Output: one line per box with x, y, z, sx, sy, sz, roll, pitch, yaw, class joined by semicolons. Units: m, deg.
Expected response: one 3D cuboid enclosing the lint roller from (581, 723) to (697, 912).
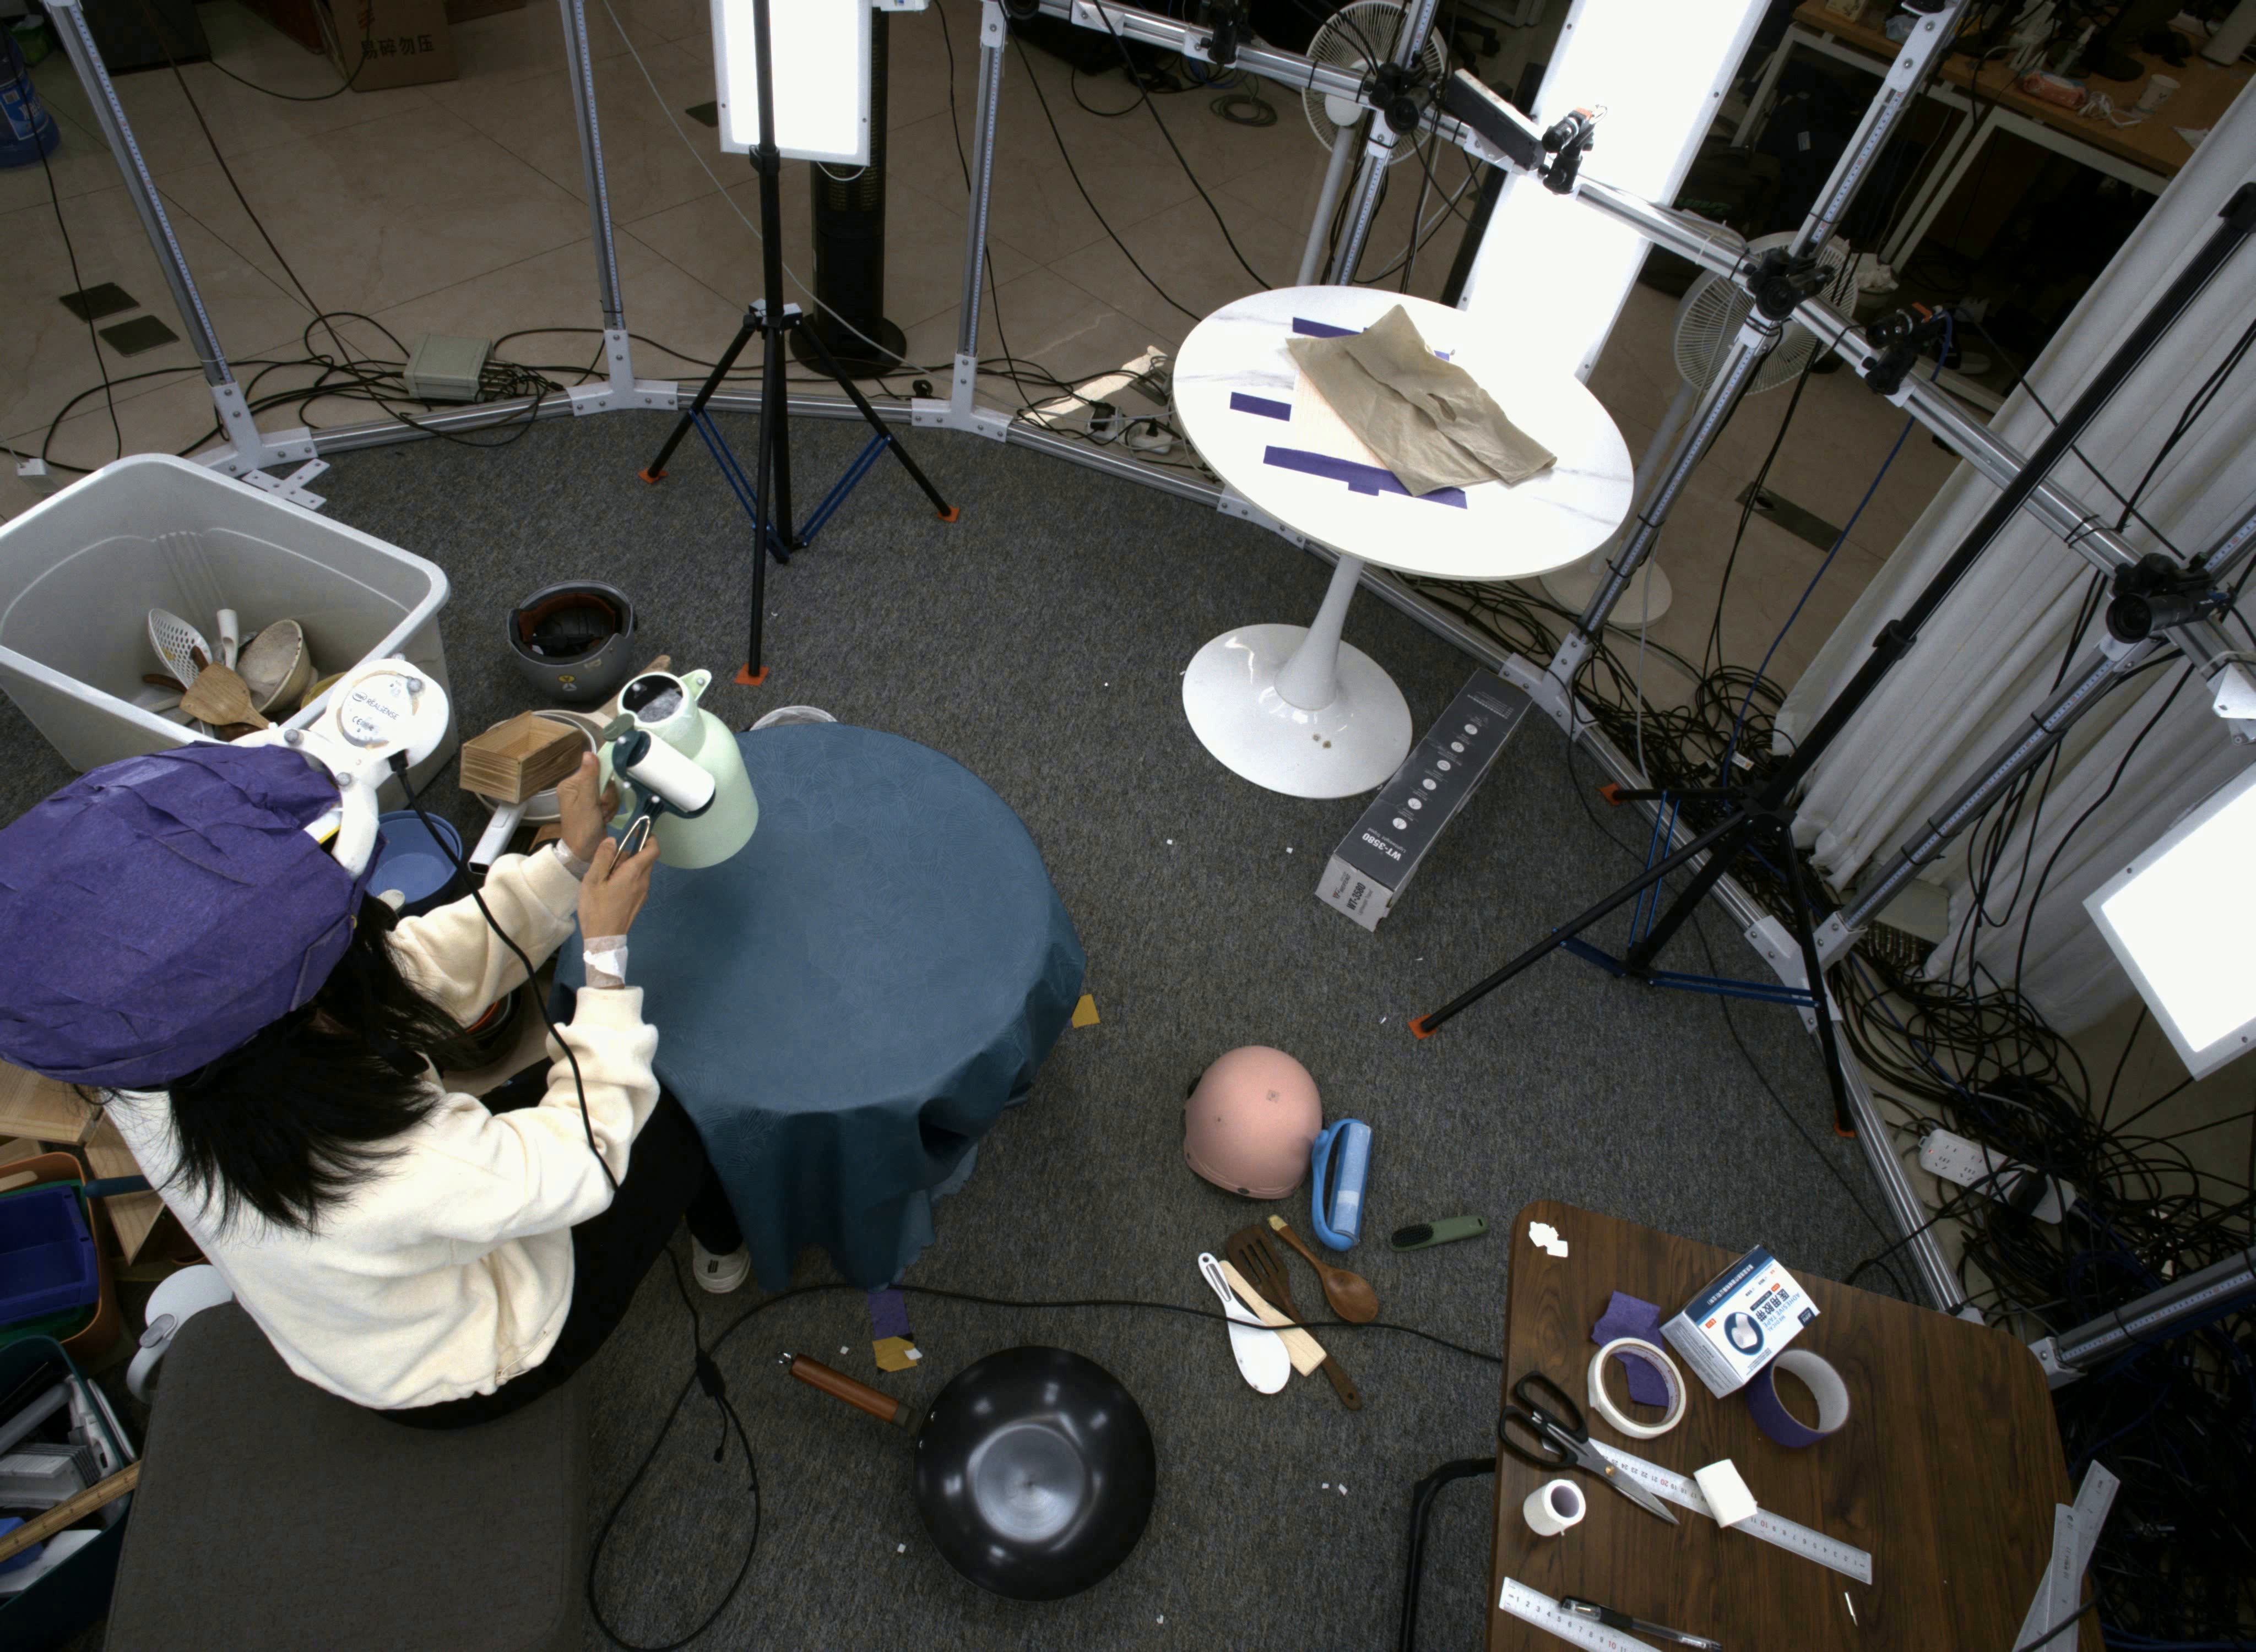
-0.514;0.001;1.306;0.047;0.139;0.179;2;67;27;lint roller

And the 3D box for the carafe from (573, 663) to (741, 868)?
-0.536;-0.063;1.436;0.141;0.262;0.186;34;65;14;carafe
